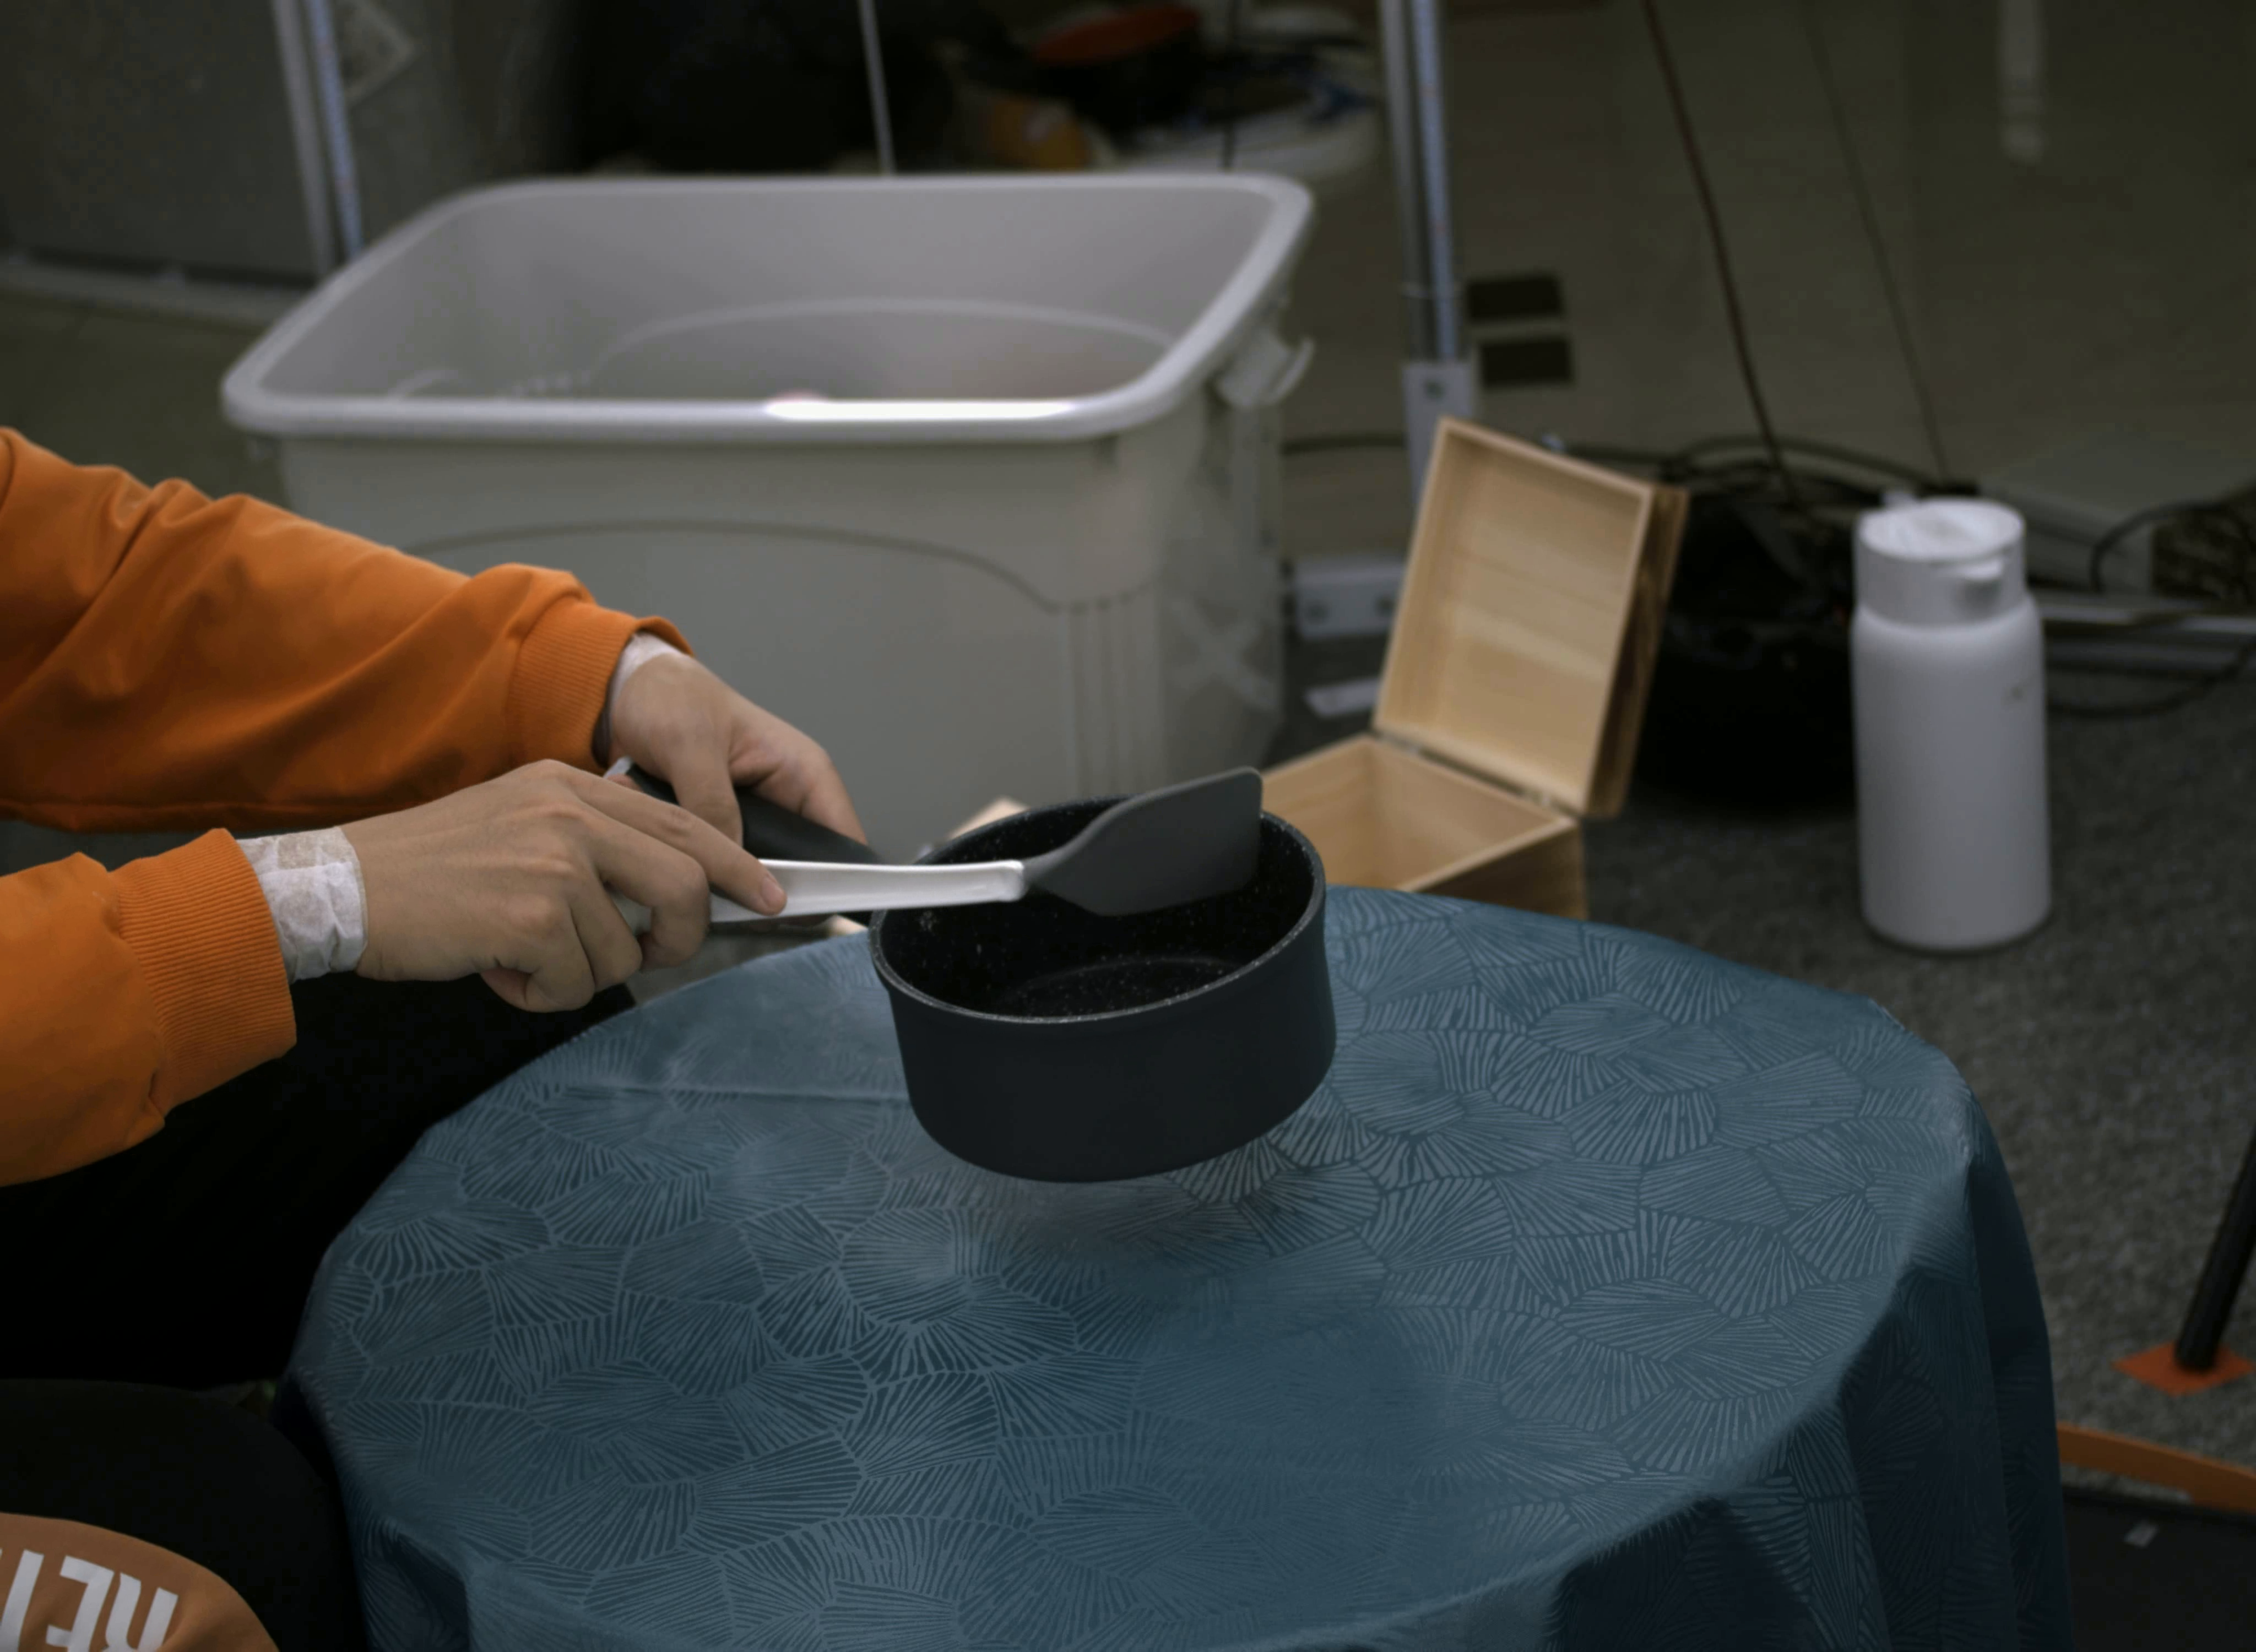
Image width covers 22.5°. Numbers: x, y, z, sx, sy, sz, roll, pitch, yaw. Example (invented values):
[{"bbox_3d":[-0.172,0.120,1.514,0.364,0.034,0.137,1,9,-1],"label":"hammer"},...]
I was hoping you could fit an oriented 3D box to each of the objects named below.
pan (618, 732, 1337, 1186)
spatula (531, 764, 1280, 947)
[{"bbox_3d":[-0.067,0.042,2.162,0.326,0.088,0.170,17,37,37],"label":"pan"},{"bbox_3d":[-0.077,0.016,2.086,0.287,0.059,0.032,-5,28,-19],"label":"spatula"}]
